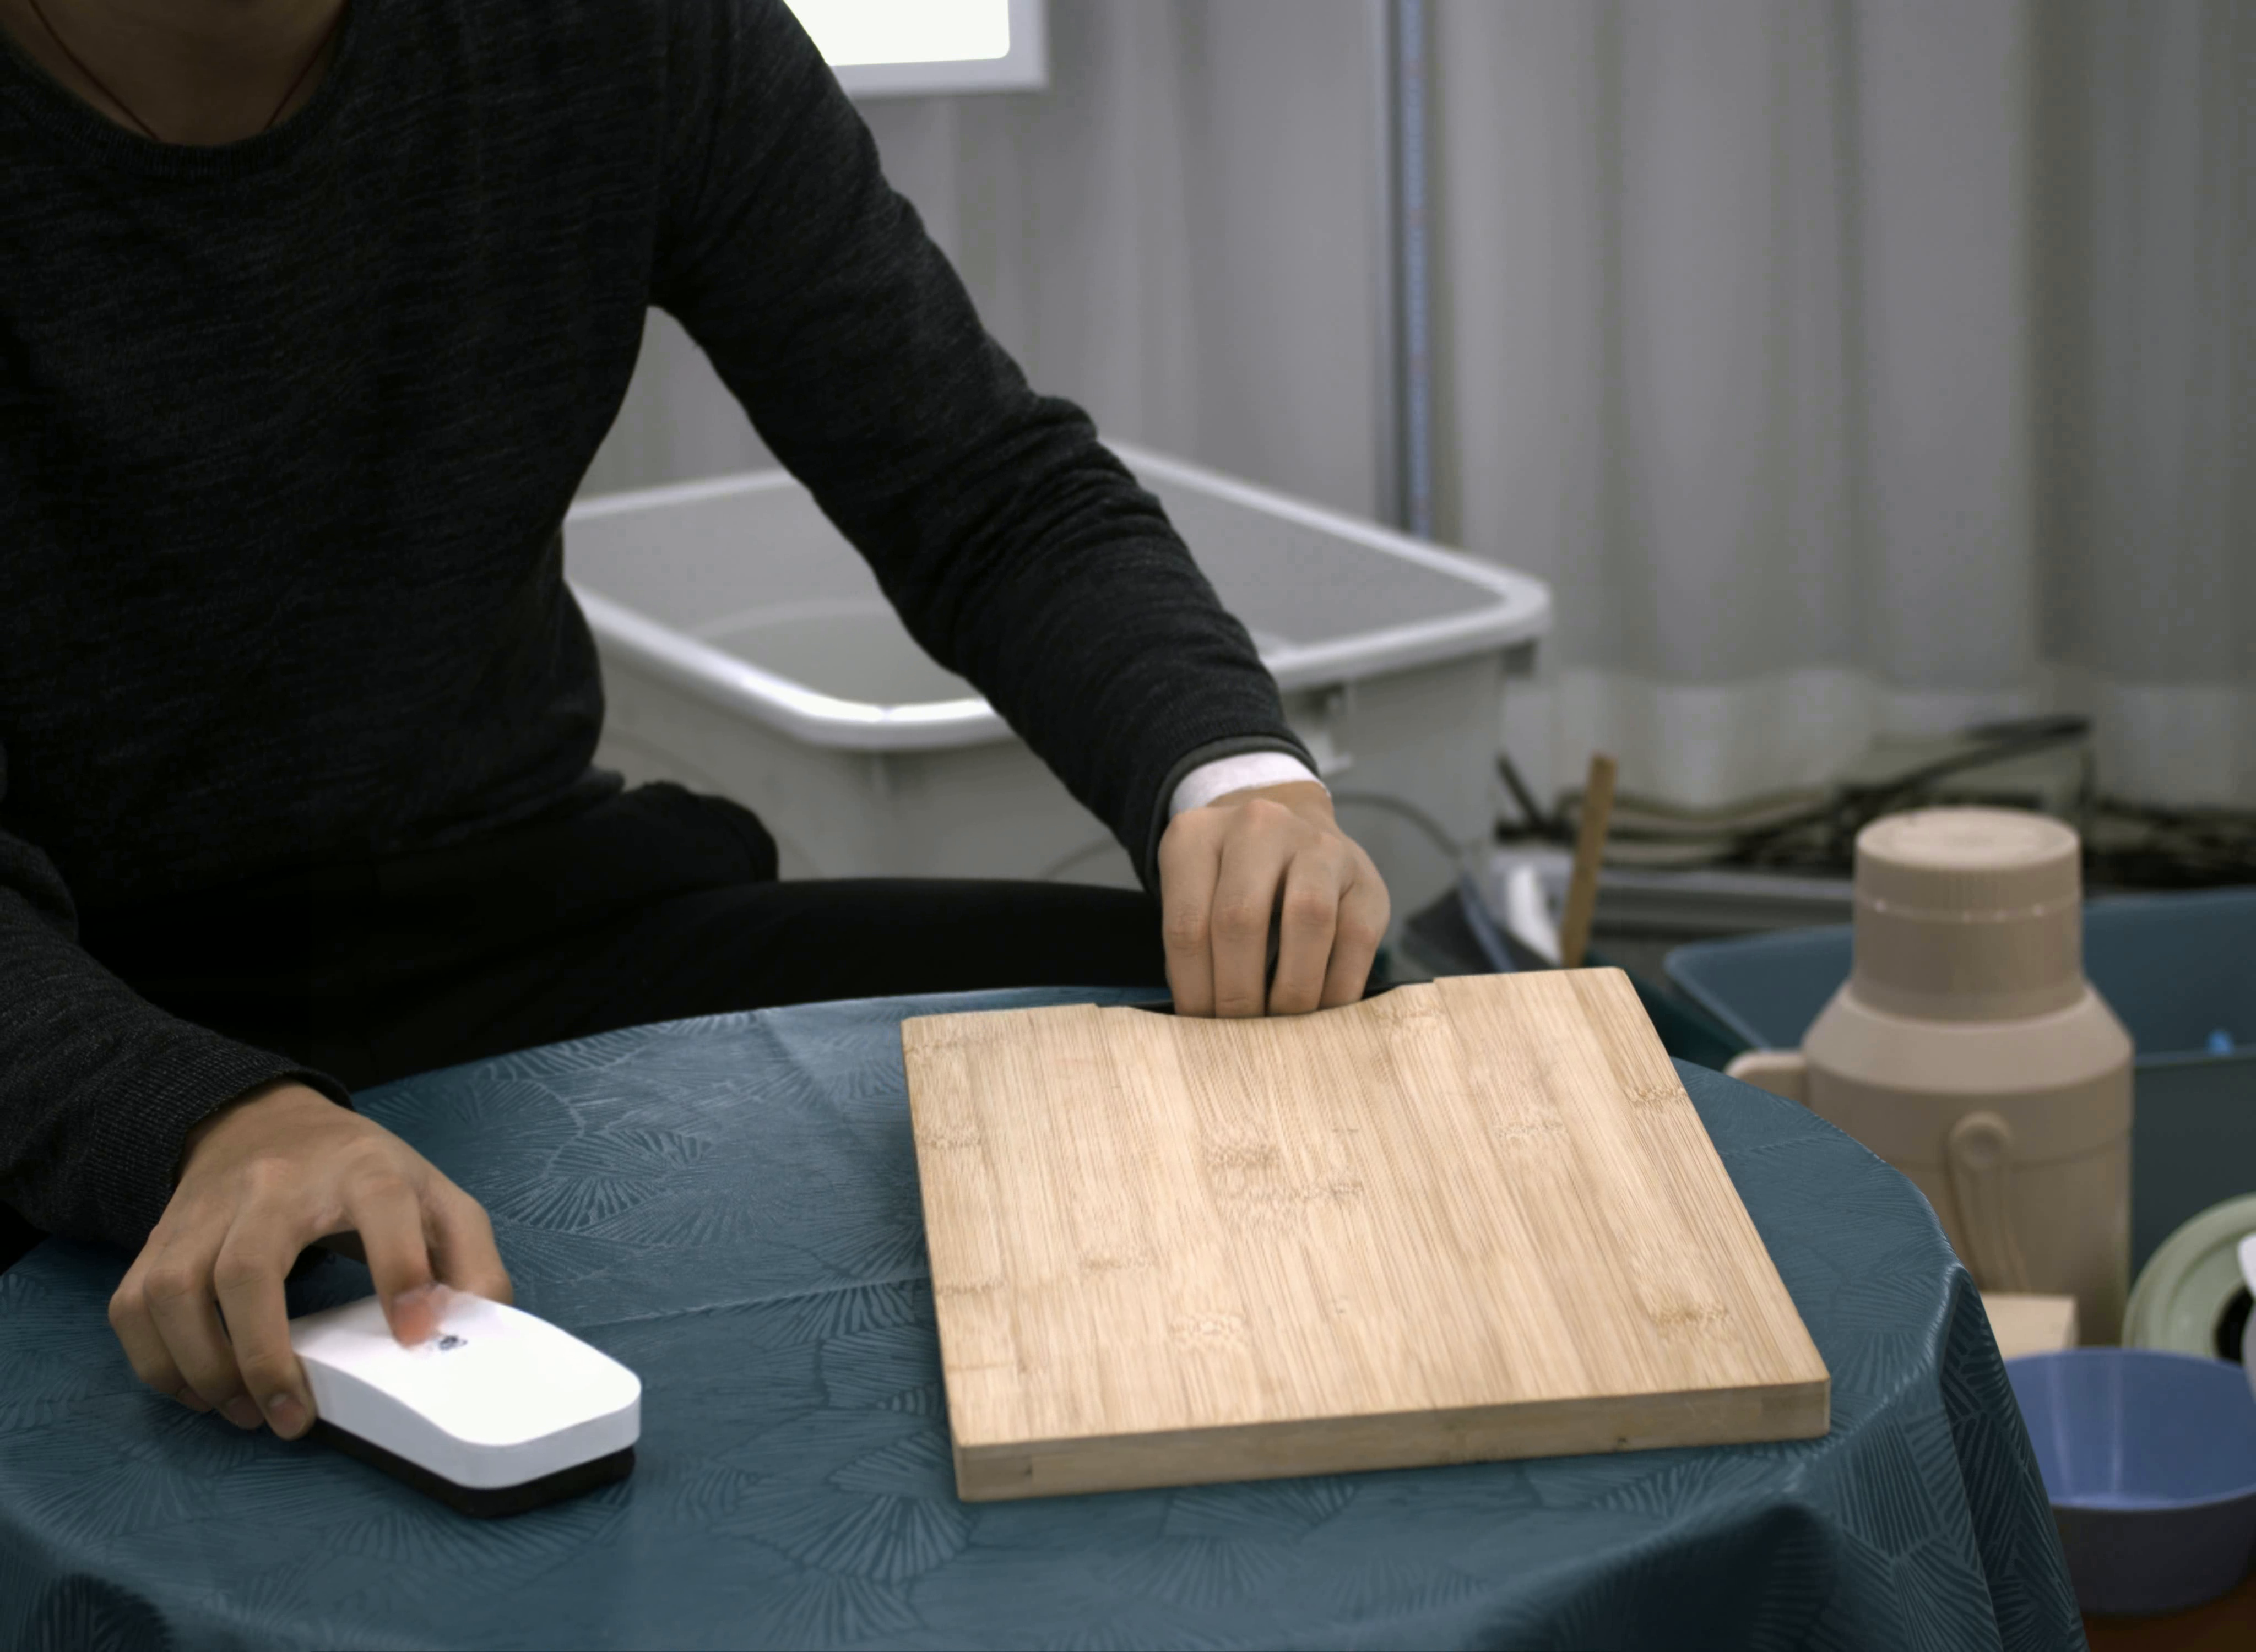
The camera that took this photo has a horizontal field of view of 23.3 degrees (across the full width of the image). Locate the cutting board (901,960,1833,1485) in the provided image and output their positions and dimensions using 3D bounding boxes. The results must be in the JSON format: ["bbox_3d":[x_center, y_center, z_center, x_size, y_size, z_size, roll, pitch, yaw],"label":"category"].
[{"bbox_3d":[0.059,0.113,1.641,0.250,0.023,0.351,-4,18,-5],"label":"cutting board"}]

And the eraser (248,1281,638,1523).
[{"bbox_3d":[-0.191,0.157,1.531,0.063,0.034,0.132,-16,21,-35],"label":"eraser"}]
